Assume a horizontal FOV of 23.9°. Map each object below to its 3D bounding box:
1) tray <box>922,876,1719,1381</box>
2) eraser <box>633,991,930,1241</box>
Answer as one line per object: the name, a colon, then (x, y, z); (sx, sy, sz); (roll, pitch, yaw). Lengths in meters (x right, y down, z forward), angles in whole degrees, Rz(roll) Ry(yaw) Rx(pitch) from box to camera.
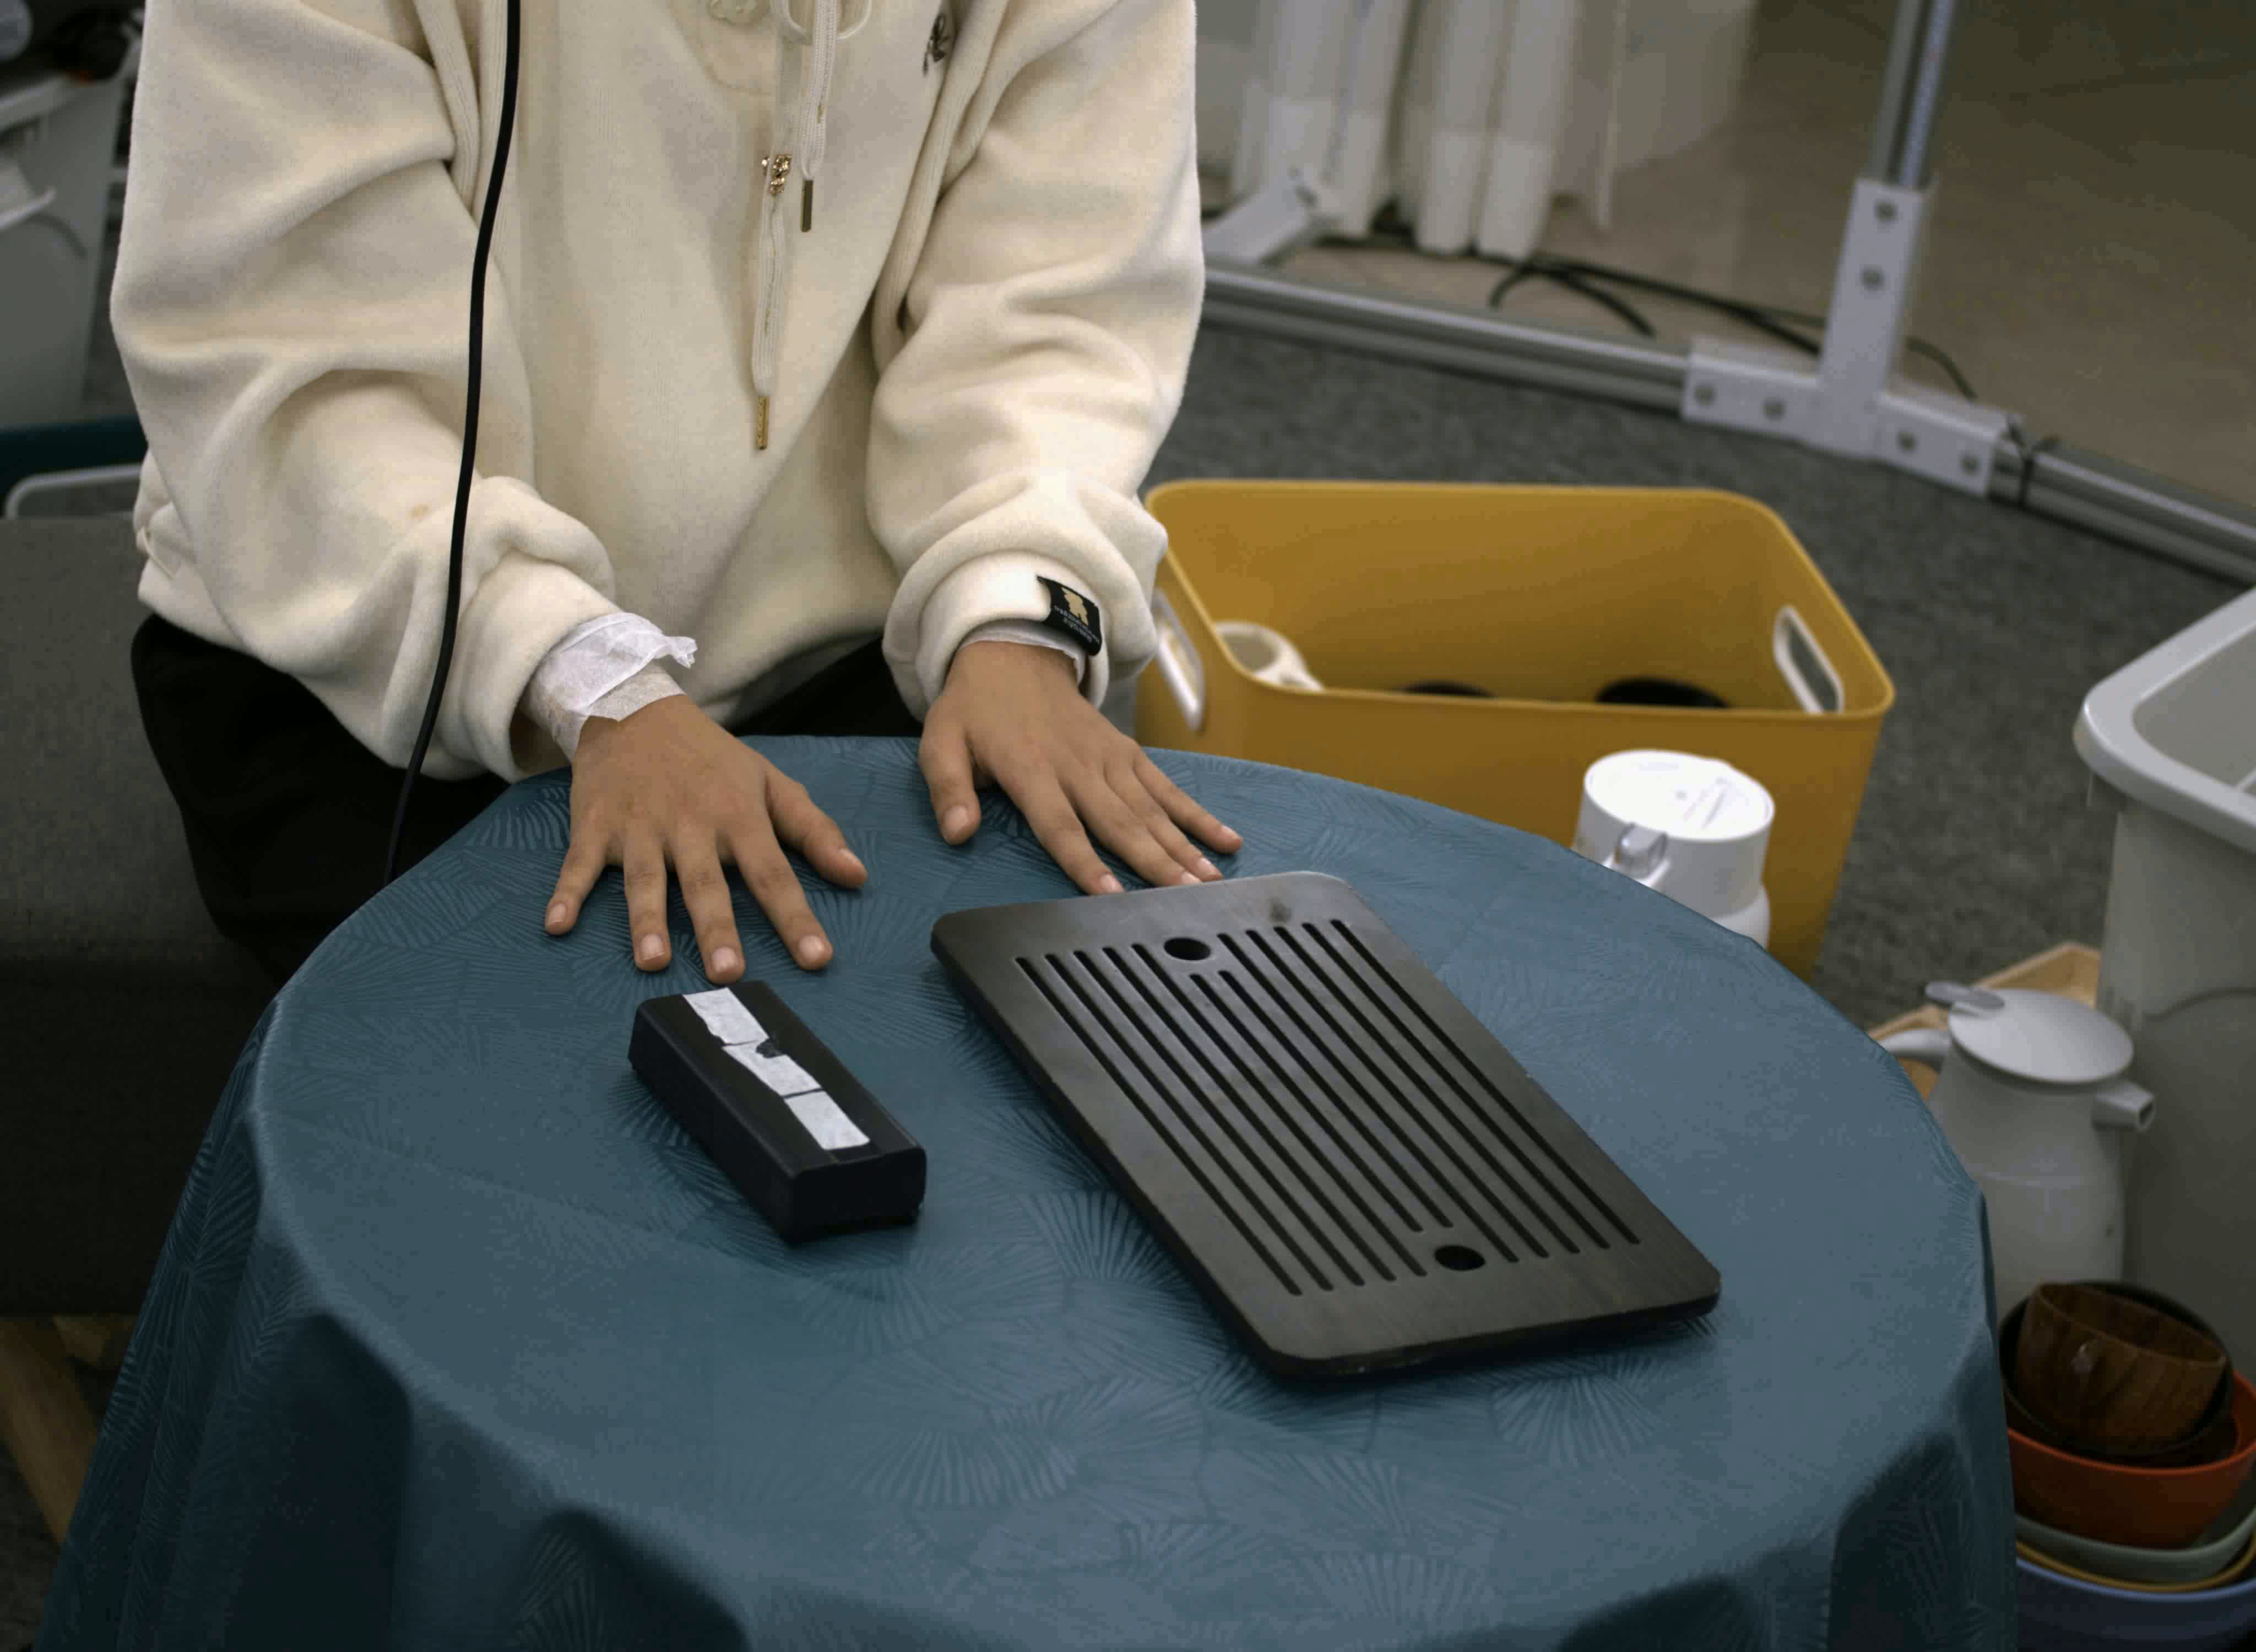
tray: (0.060, 0.101, 1.840); (0.169, 0.018, 0.309); (-6, 30, -24)
eraser: (-0.118, 0.097, 1.798); (0.053, 0.030, 0.126); (-6, 29, -30)
